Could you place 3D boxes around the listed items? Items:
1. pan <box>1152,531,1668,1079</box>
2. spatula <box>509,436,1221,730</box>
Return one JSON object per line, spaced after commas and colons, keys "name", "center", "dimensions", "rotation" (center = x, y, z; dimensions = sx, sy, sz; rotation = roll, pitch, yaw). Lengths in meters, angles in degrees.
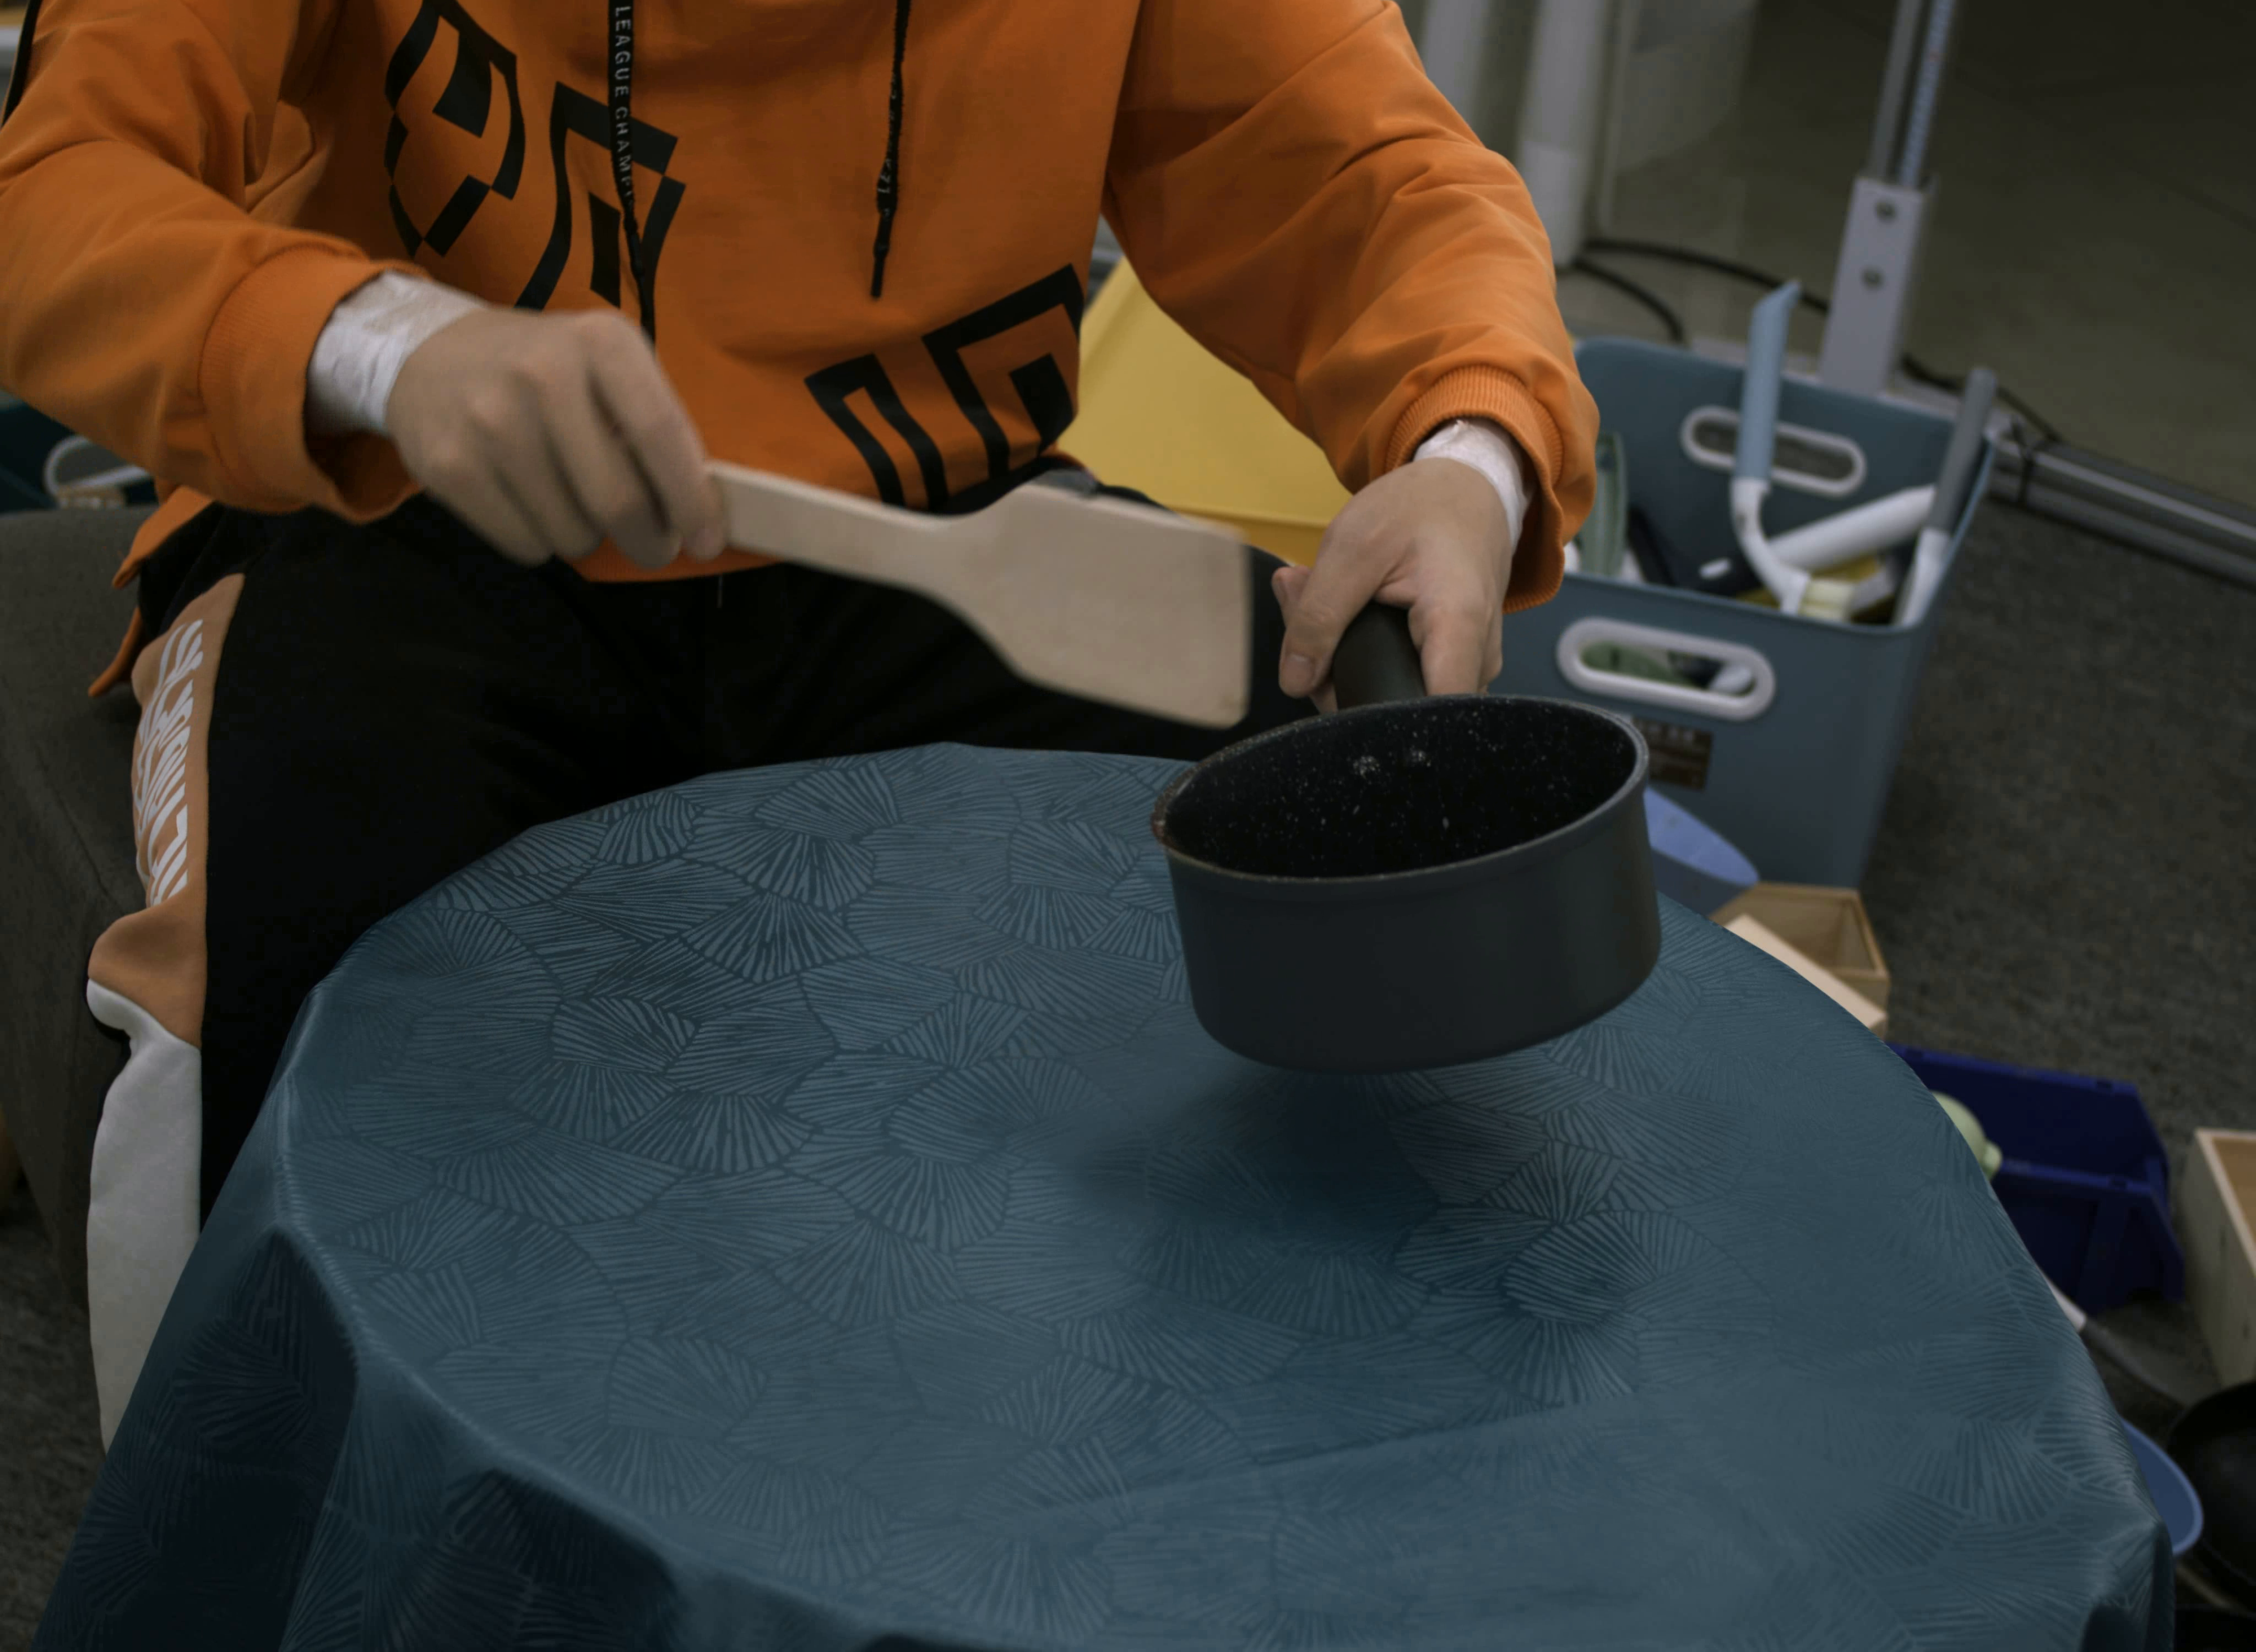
{"name": "pan", "center": [0.100, -0.011, 1.890], "dimensions": [0.172, 0.086, 0.330], "rotation": [-7, 22, 5]}
{"name": "spatula", "center": [-0.094, -0.093, 1.771], "dimensions": [0.294, 0.072, 0.010], "rotation": [15, 33, 32]}
